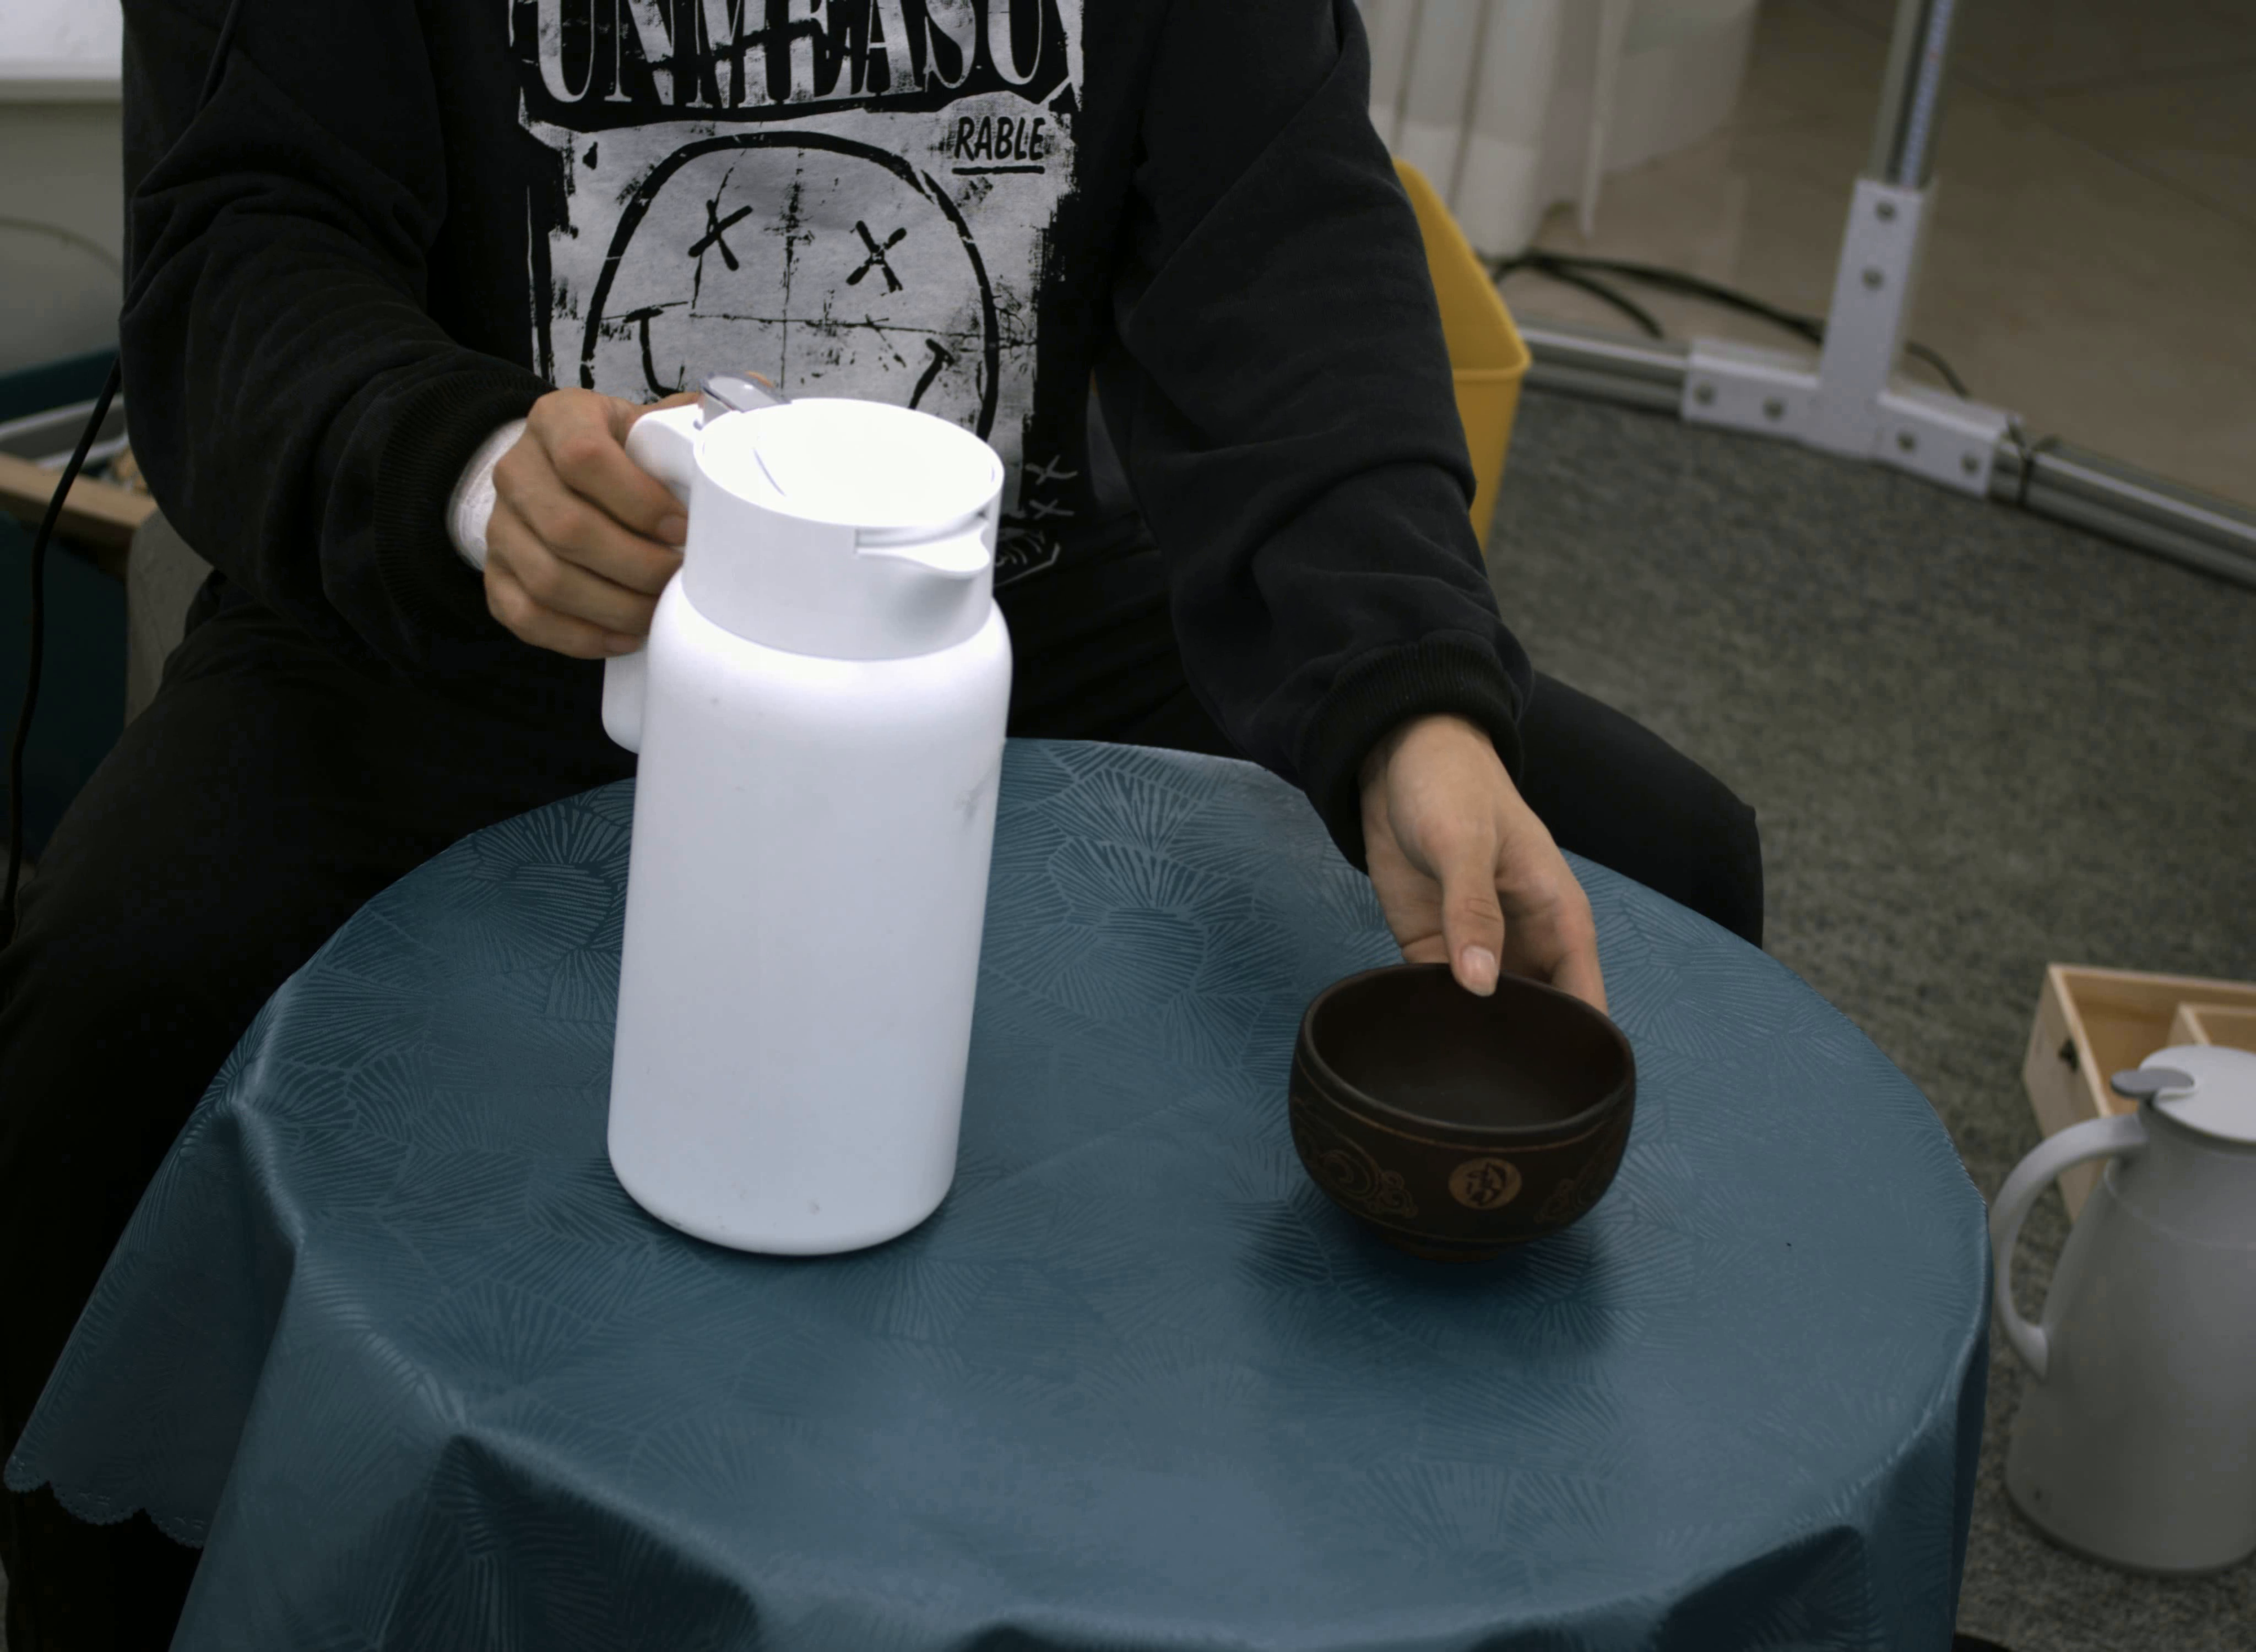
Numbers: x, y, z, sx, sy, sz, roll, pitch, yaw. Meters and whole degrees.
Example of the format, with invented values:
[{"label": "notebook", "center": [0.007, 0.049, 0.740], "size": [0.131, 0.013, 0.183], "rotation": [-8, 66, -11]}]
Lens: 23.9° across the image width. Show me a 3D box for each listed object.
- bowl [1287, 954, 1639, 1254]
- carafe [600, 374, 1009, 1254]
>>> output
[{"label": "bowl", "center": [0.111, 0.101, 1.794], "size": [0.117, 0.069, 0.119], "rotation": [4, 27, -3]}, {"label": "carafe", "center": [-0.116, -0.007, 1.743], "size": [0.123, 0.268, 0.174], "rotation": [-17, 35, -36]}]
